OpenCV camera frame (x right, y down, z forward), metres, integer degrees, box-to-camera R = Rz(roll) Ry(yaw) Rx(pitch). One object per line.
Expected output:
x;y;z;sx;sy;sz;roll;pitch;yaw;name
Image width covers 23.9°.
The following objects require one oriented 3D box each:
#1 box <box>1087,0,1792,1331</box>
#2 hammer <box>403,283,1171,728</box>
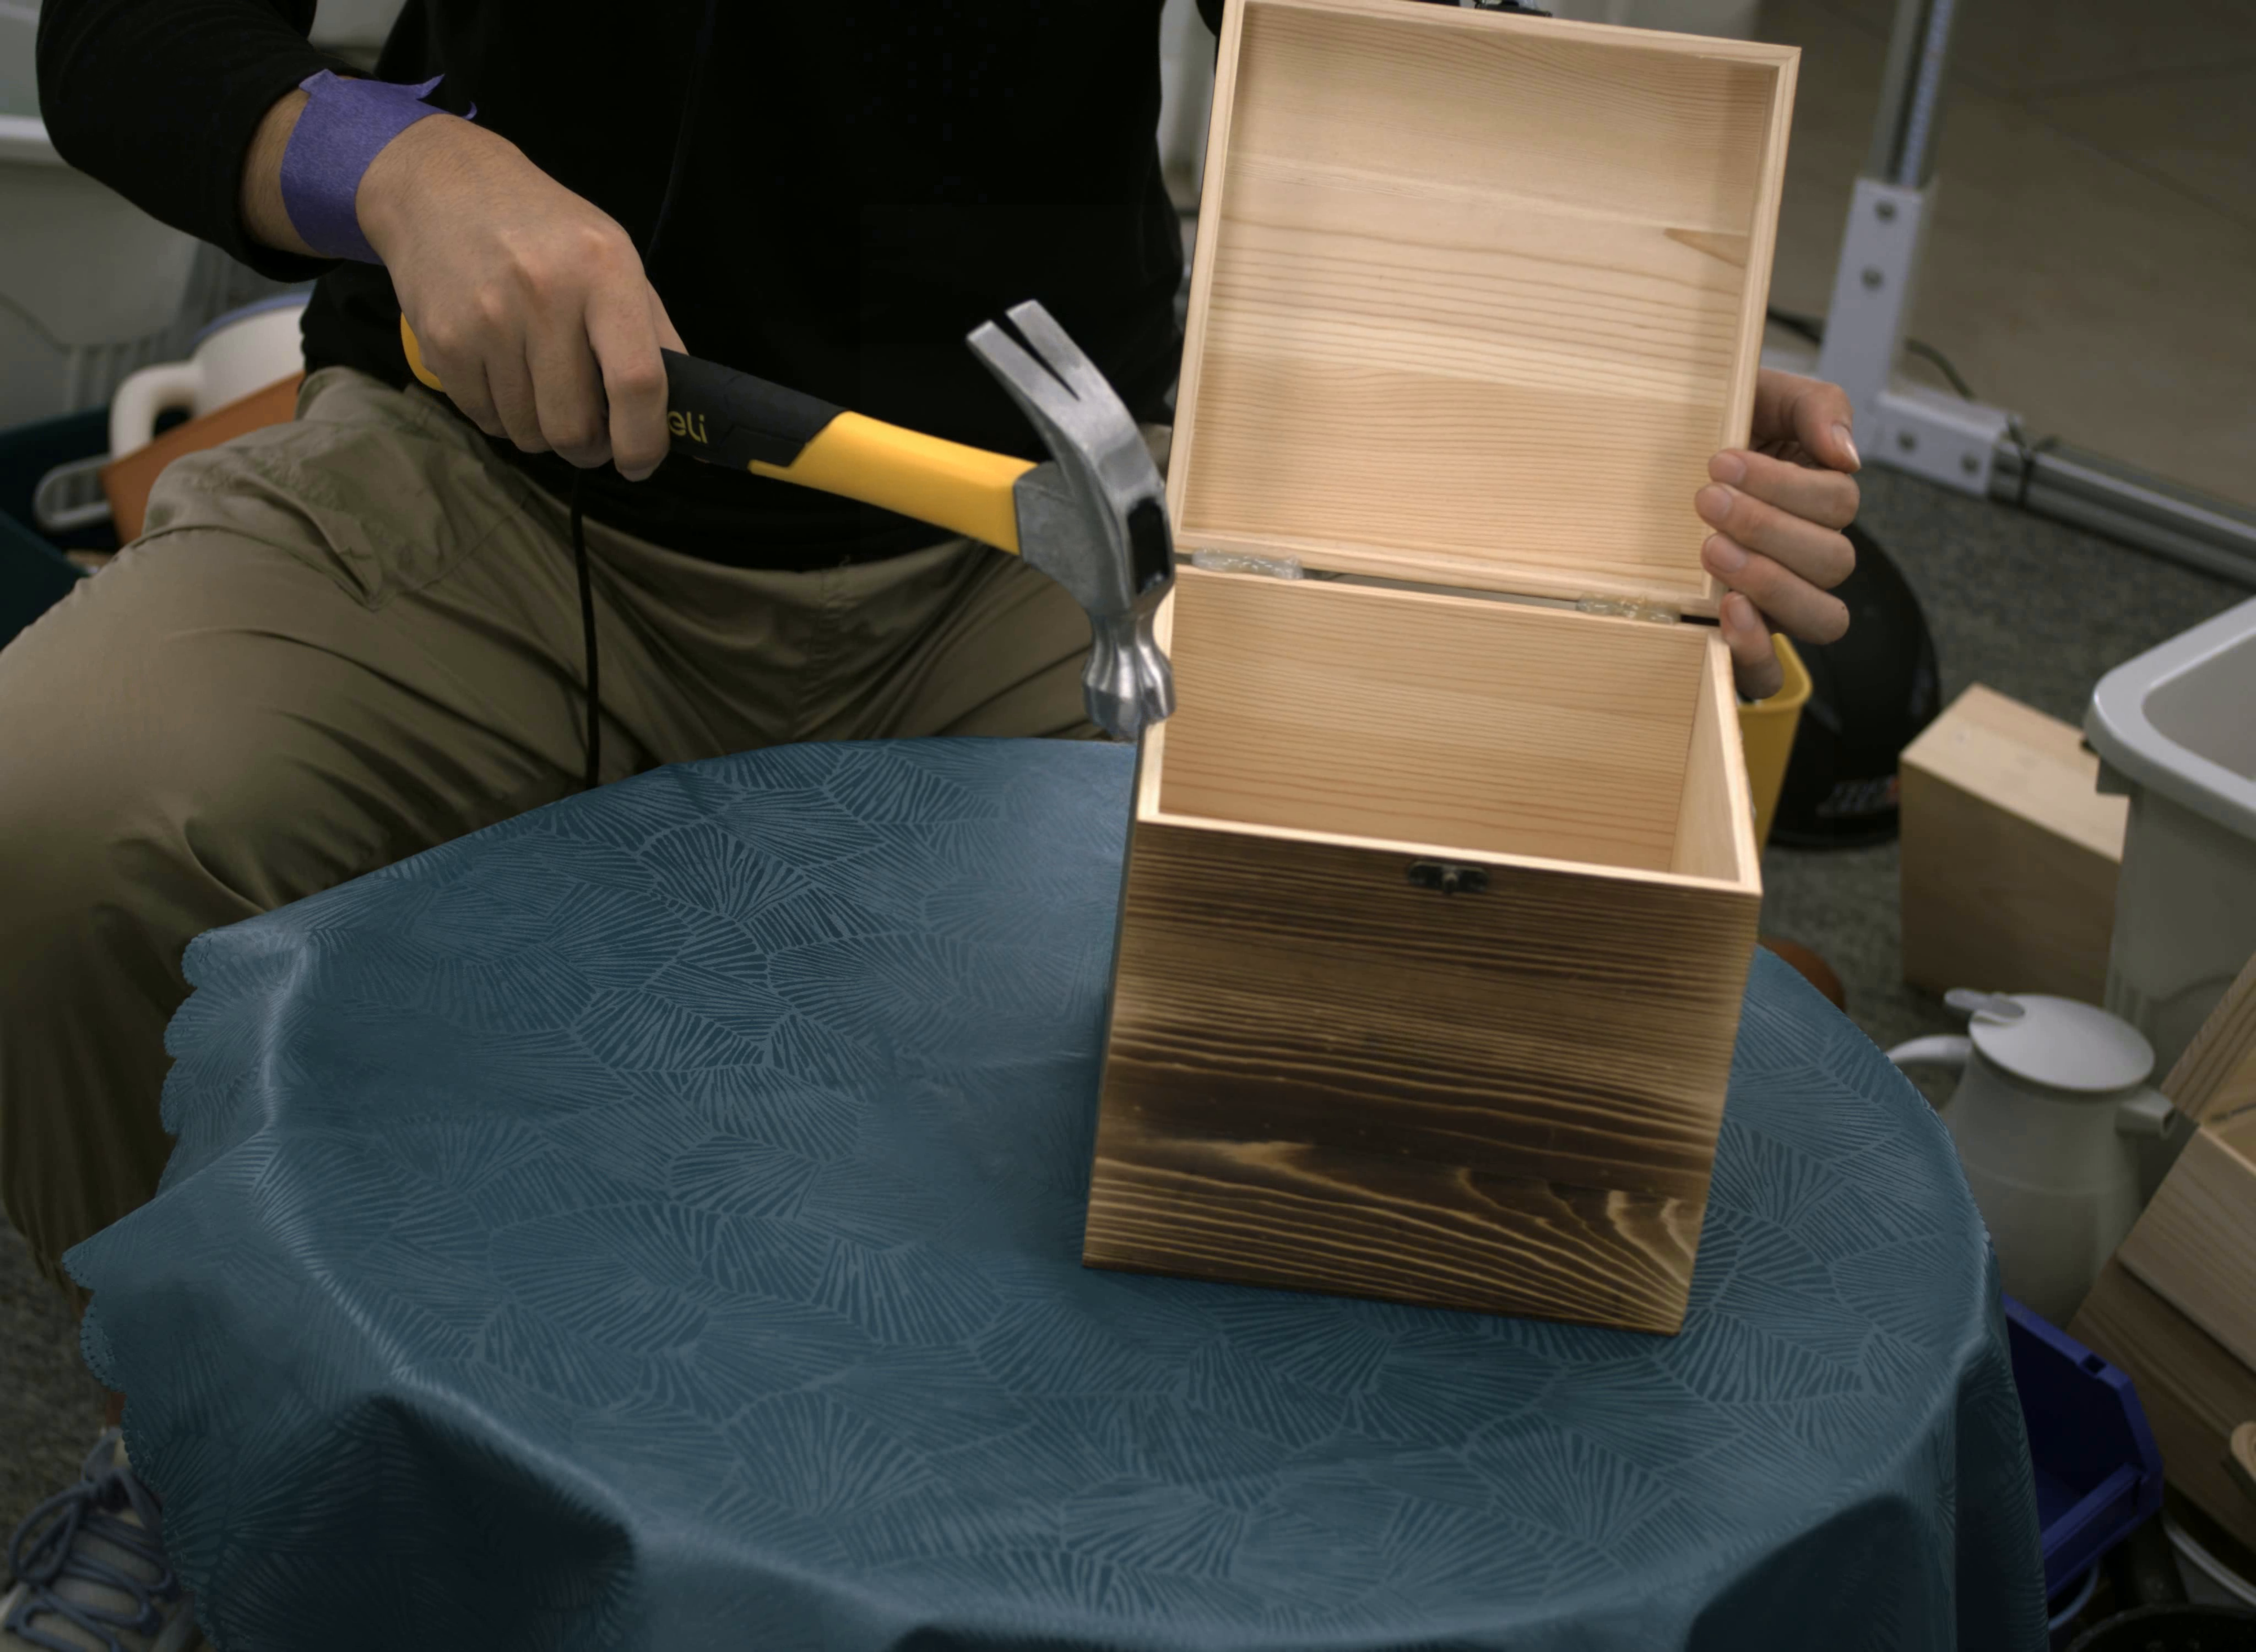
0.107;-0.072;1.809;0.208;0.374;0.324;7;28;0;box
-0.121;-0.133;1.786;0.341;0.131;0.032;18;35;38;hammer
